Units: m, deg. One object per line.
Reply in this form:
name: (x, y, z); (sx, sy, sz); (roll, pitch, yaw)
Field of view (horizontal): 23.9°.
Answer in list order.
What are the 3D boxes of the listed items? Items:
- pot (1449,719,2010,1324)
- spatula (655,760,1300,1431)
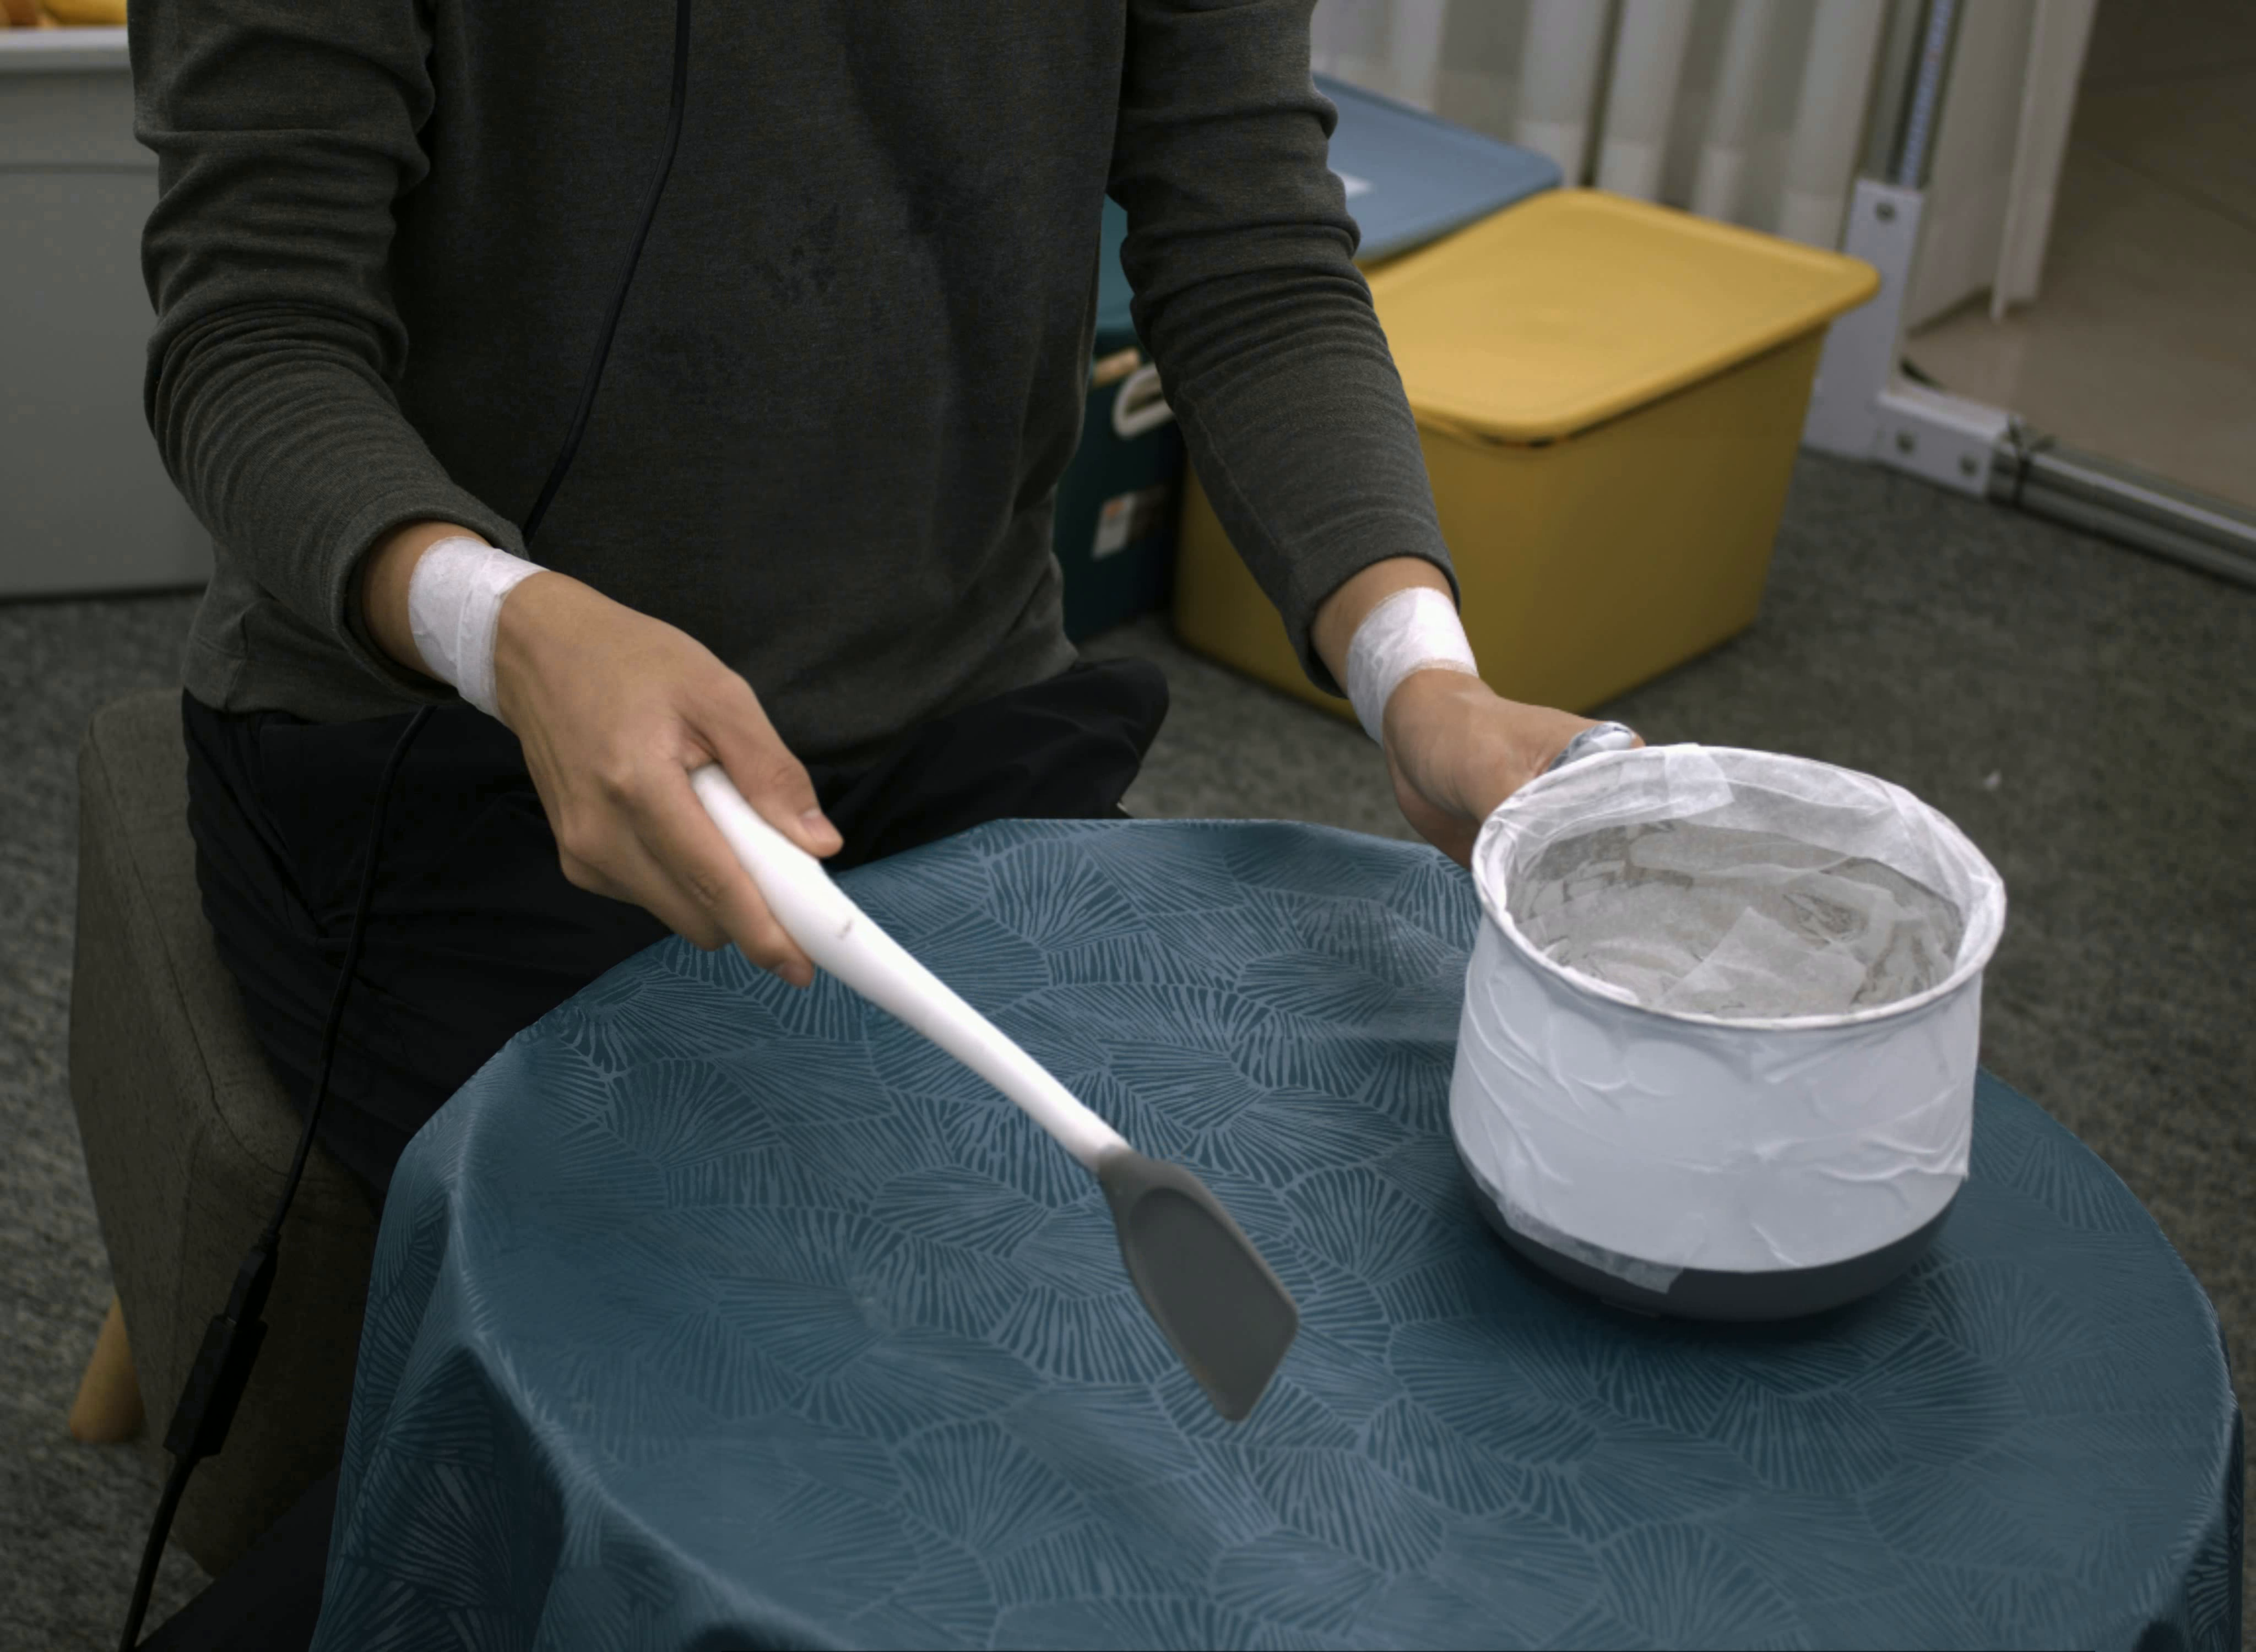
pot: (0.188, 0.058, 1.811); (0.177, 0.136, 0.236); (-9, 32, -20)
spatula: (-0.045, 0.078, 1.678); (0.289, 0.058, 0.032); (42, 34, 25)
